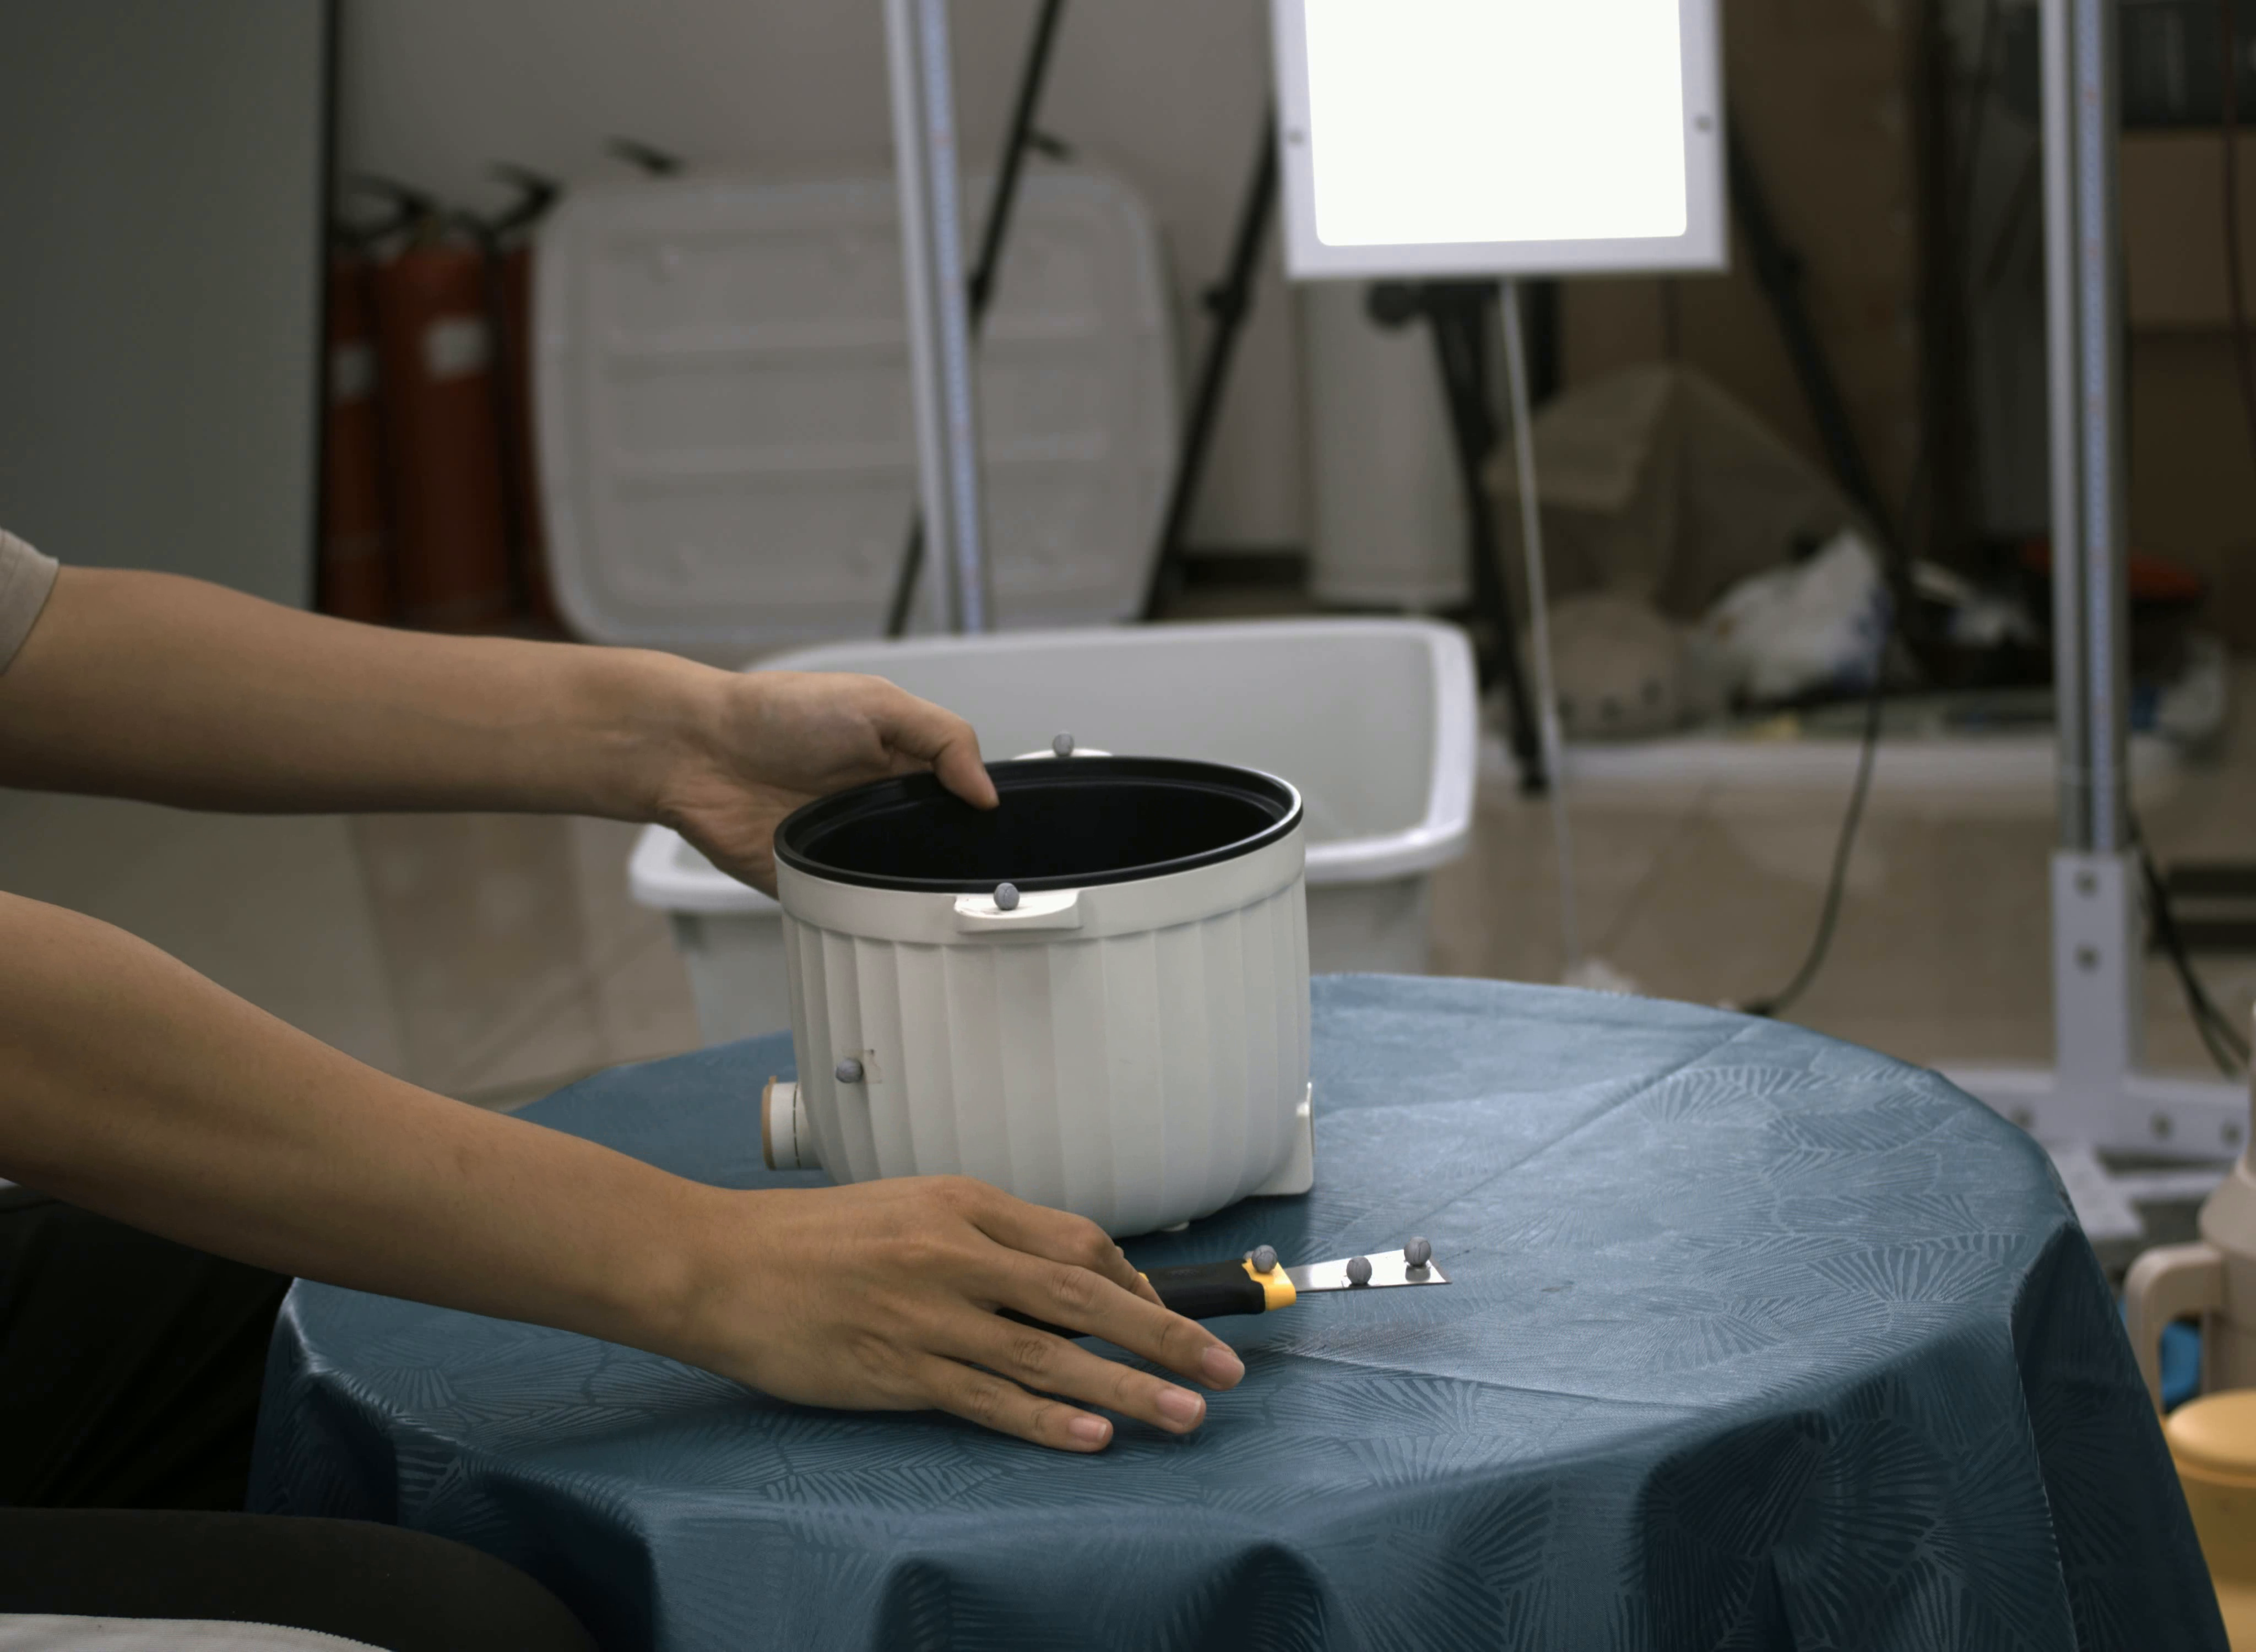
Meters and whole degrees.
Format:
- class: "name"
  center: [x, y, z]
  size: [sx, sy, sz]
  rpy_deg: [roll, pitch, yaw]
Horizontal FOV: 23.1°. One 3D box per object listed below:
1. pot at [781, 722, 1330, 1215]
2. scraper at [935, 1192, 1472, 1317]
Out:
- class: "pot"
  center: [-0.025, 0.052, 1.894]
  size: [0.191, 0.143, 0.239]
  rpy_deg: [0, 12, 4]
- class: "scraper"
  center: [0.023, 0.134, 1.726]
  size: [0.169, 0.015, 0.039]
  rpy_deg: [-7, 20, -9]
